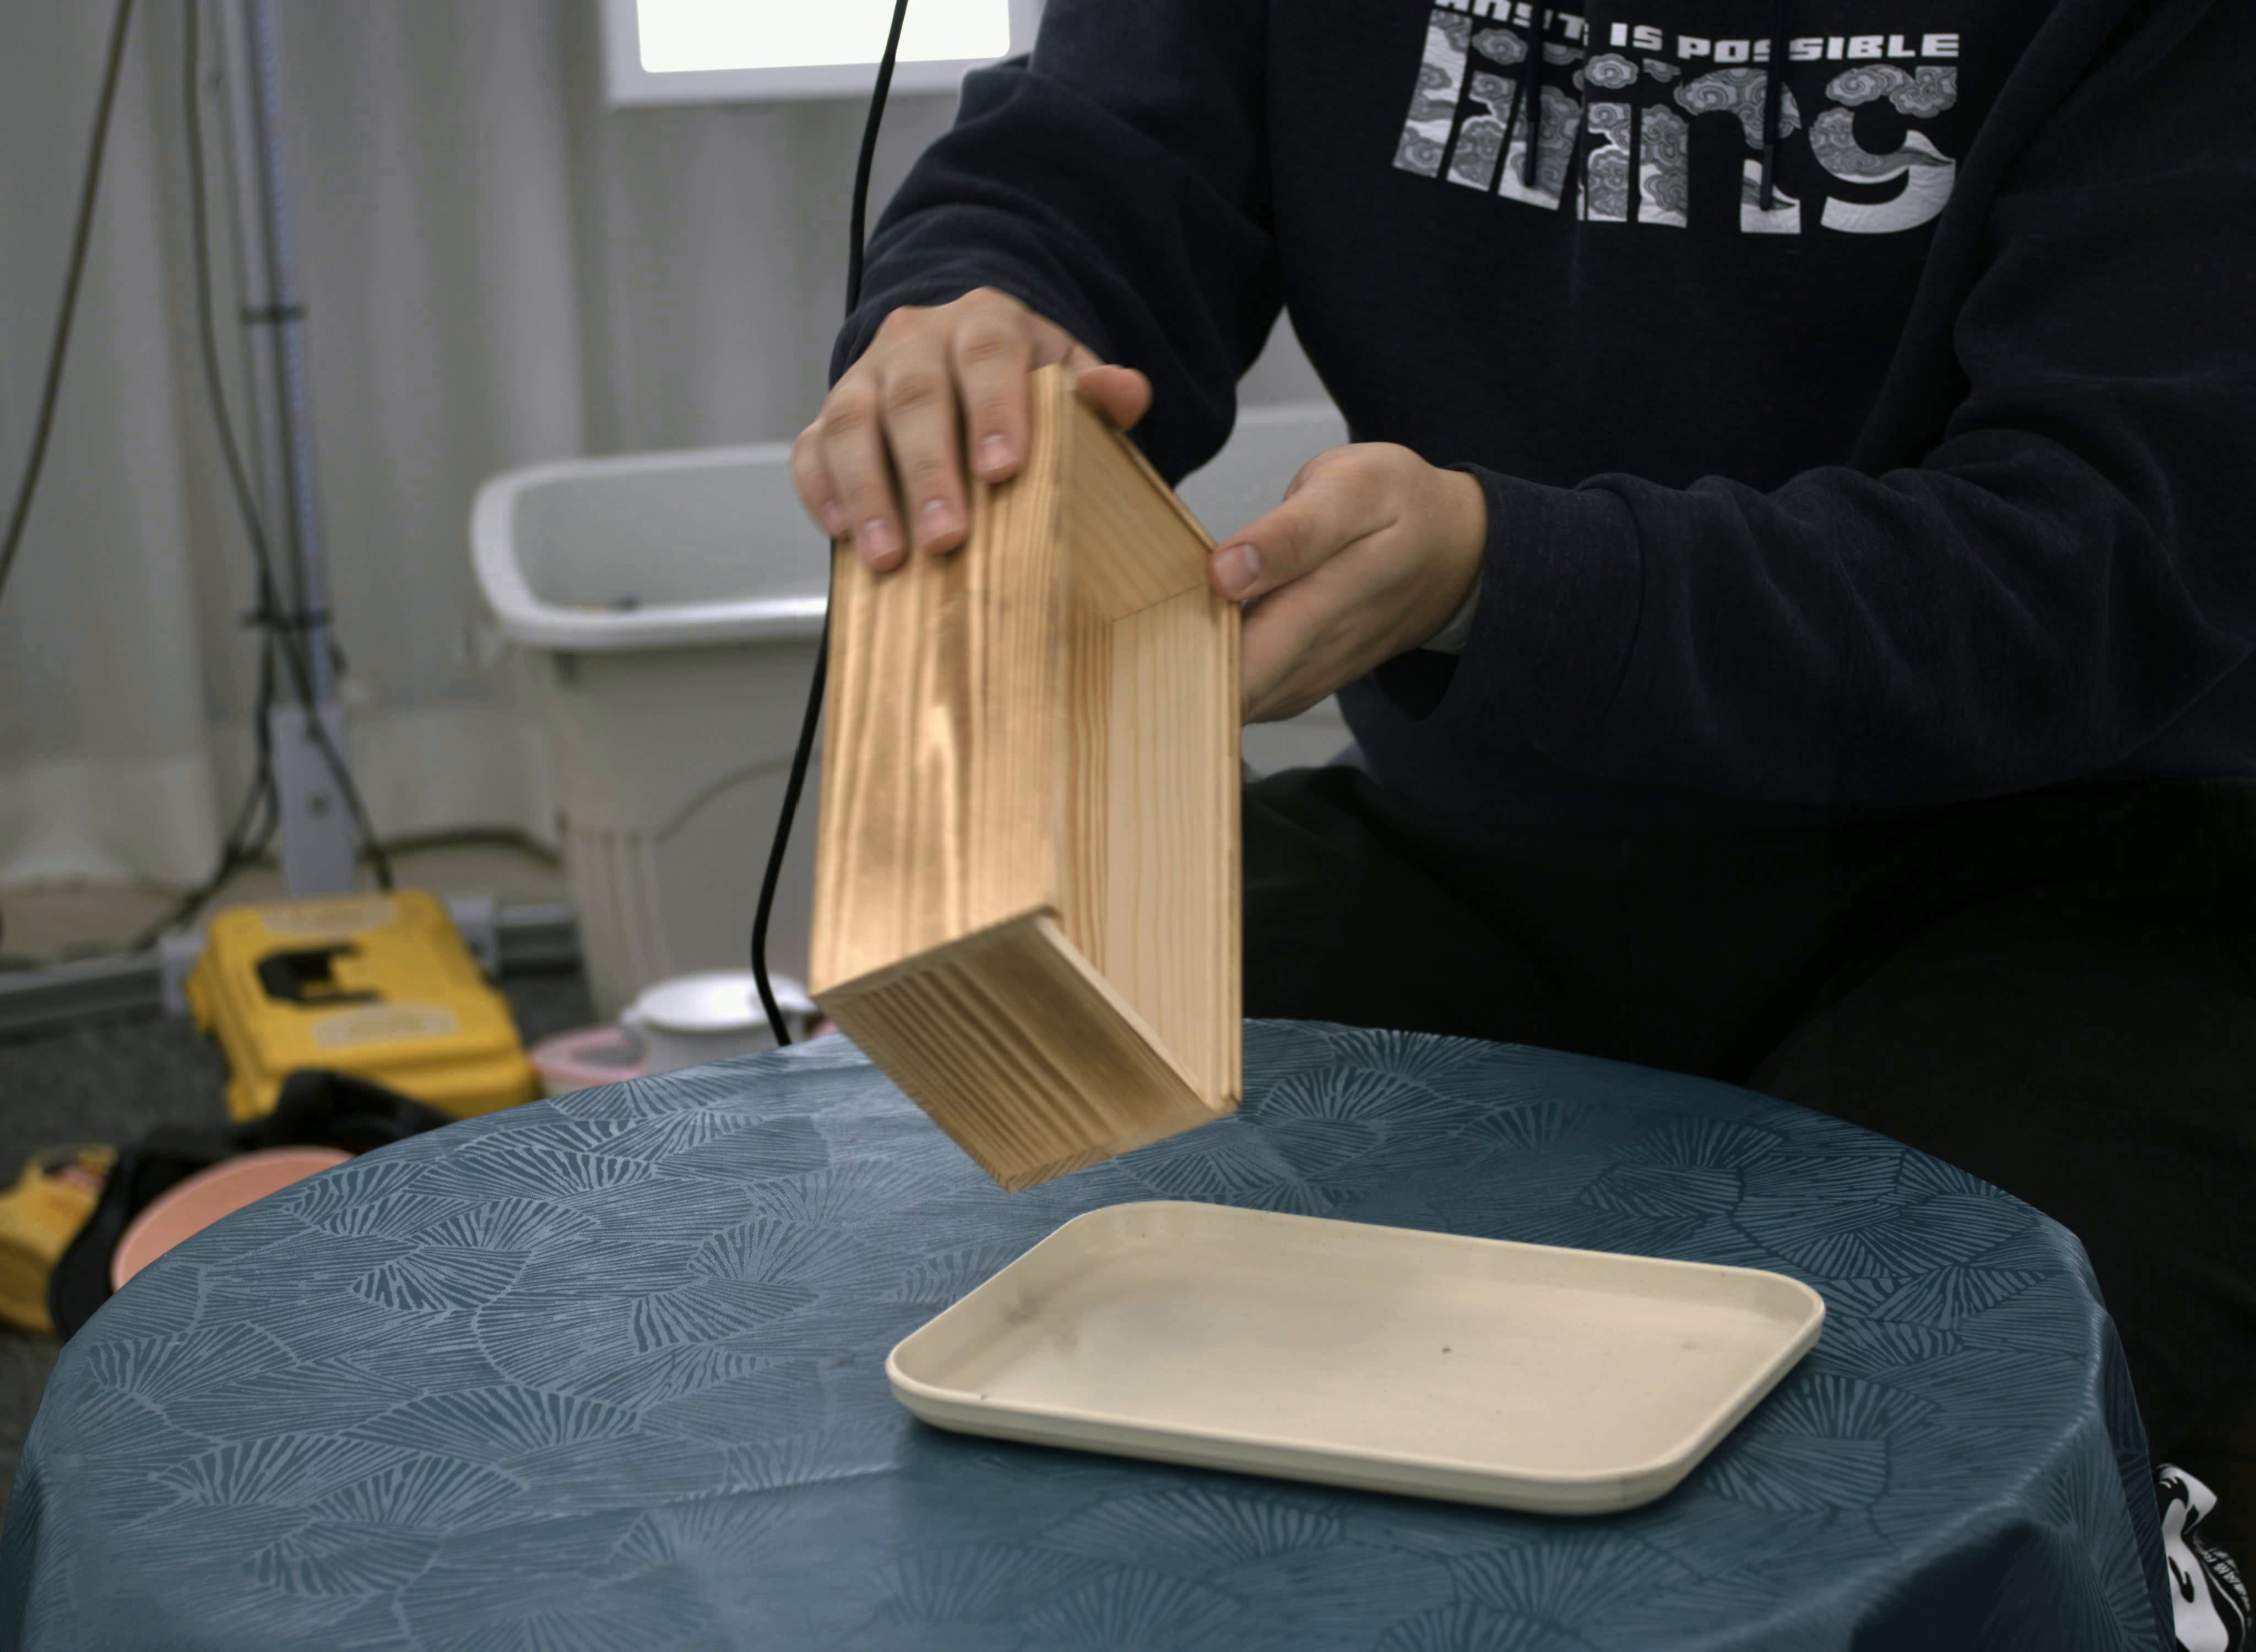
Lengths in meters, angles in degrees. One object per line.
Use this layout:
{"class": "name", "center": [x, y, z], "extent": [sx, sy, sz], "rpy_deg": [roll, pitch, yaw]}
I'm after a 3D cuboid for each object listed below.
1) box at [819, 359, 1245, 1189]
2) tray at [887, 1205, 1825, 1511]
{"class": "box", "center": [-0.025, -0.017, 1.596], "extent": [0.080, 0.106, 0.215], "rpy_deg": [-20, 45, 22]}
{"class": "tray", "center": [0.065, 0.149, 1.542], "extent": [0.240, 0.017, 0.171], "rpy_deg": [4, 16, 26]}
